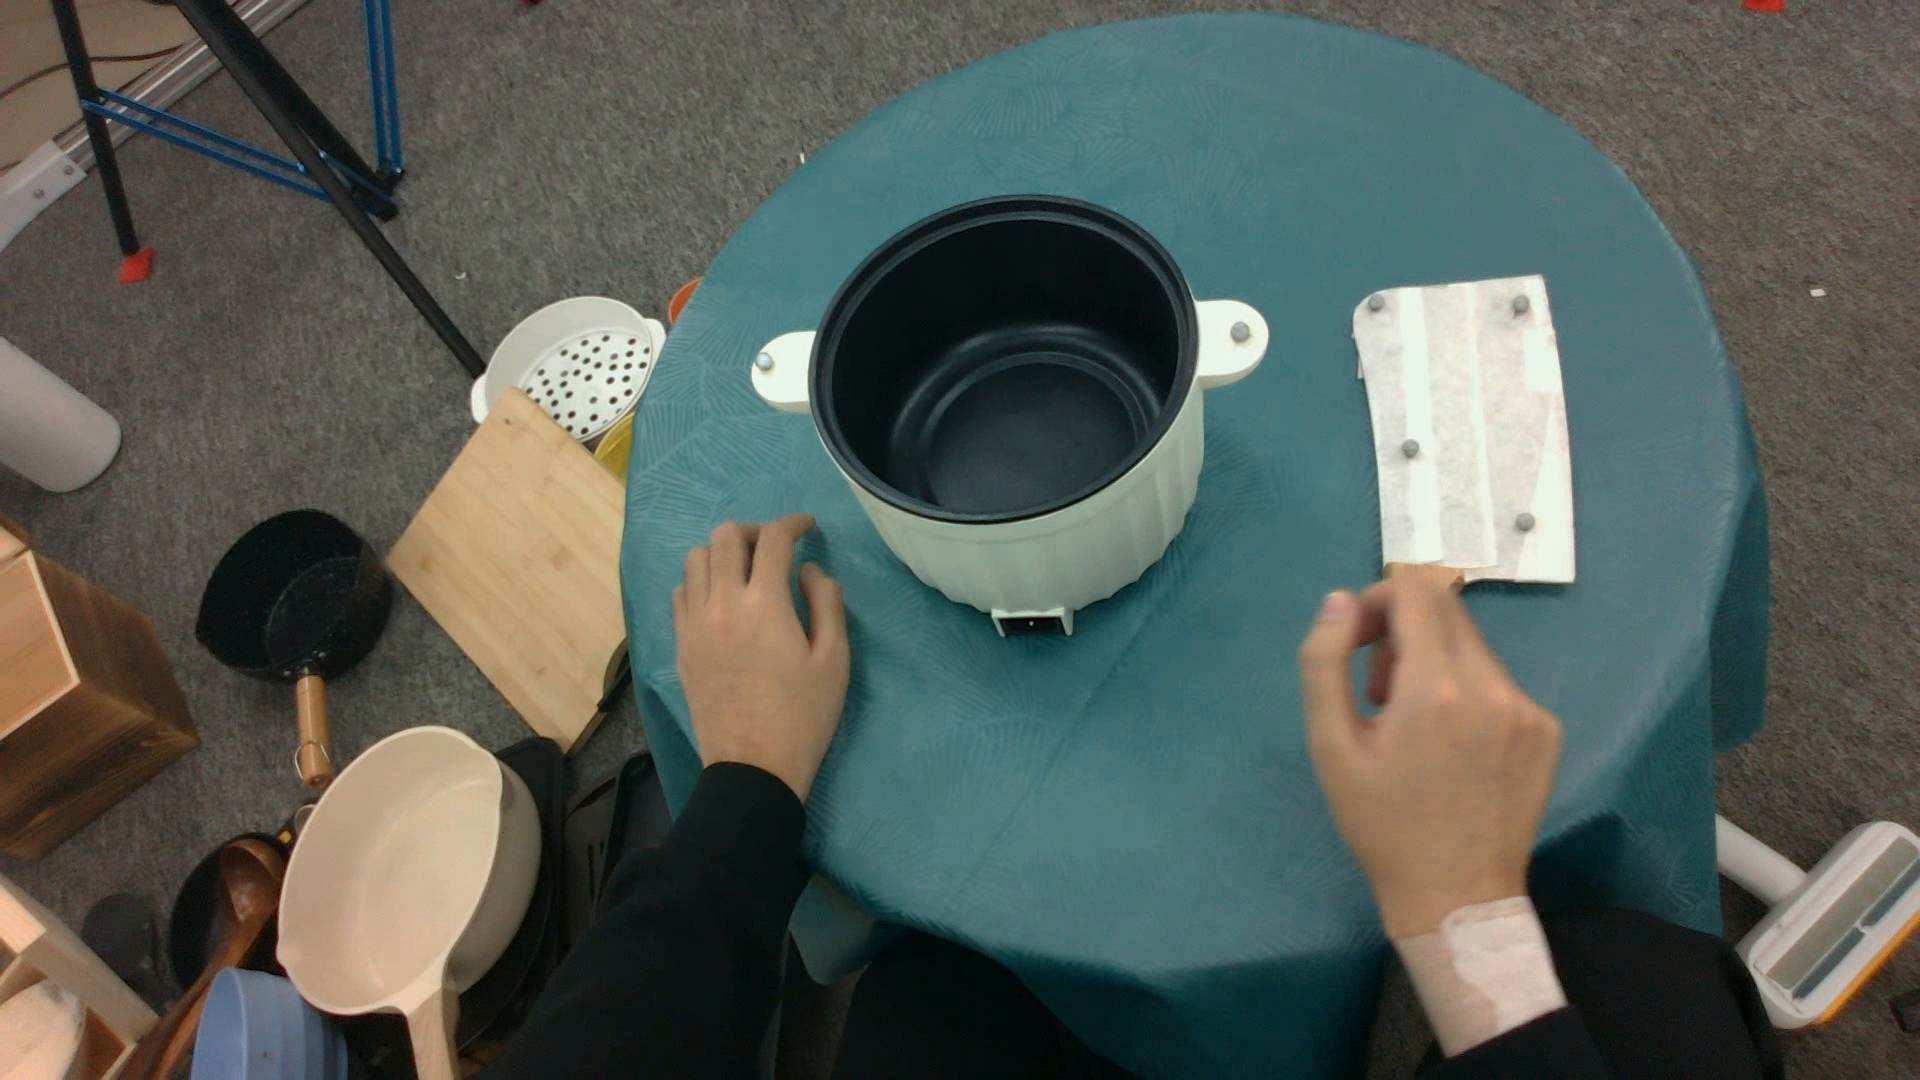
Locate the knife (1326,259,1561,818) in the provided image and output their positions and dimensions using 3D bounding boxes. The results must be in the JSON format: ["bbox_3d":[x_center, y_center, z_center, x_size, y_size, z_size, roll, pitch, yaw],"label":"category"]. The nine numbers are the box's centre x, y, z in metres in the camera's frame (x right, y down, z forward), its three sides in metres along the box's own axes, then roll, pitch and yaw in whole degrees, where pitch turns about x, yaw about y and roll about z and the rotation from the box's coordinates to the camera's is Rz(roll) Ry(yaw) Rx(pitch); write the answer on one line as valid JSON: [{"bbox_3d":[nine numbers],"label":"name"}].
[{"bbox_3d":[0.235,-0.016,0.679,0.114,0.021,0.317,3,61,14],"label":"knife"}]

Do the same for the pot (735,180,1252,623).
[{"bbox_3d":[0.022,-0.069,0.685,0.240,0.142,0.191,-2,65,10],"label":"pot"}]
